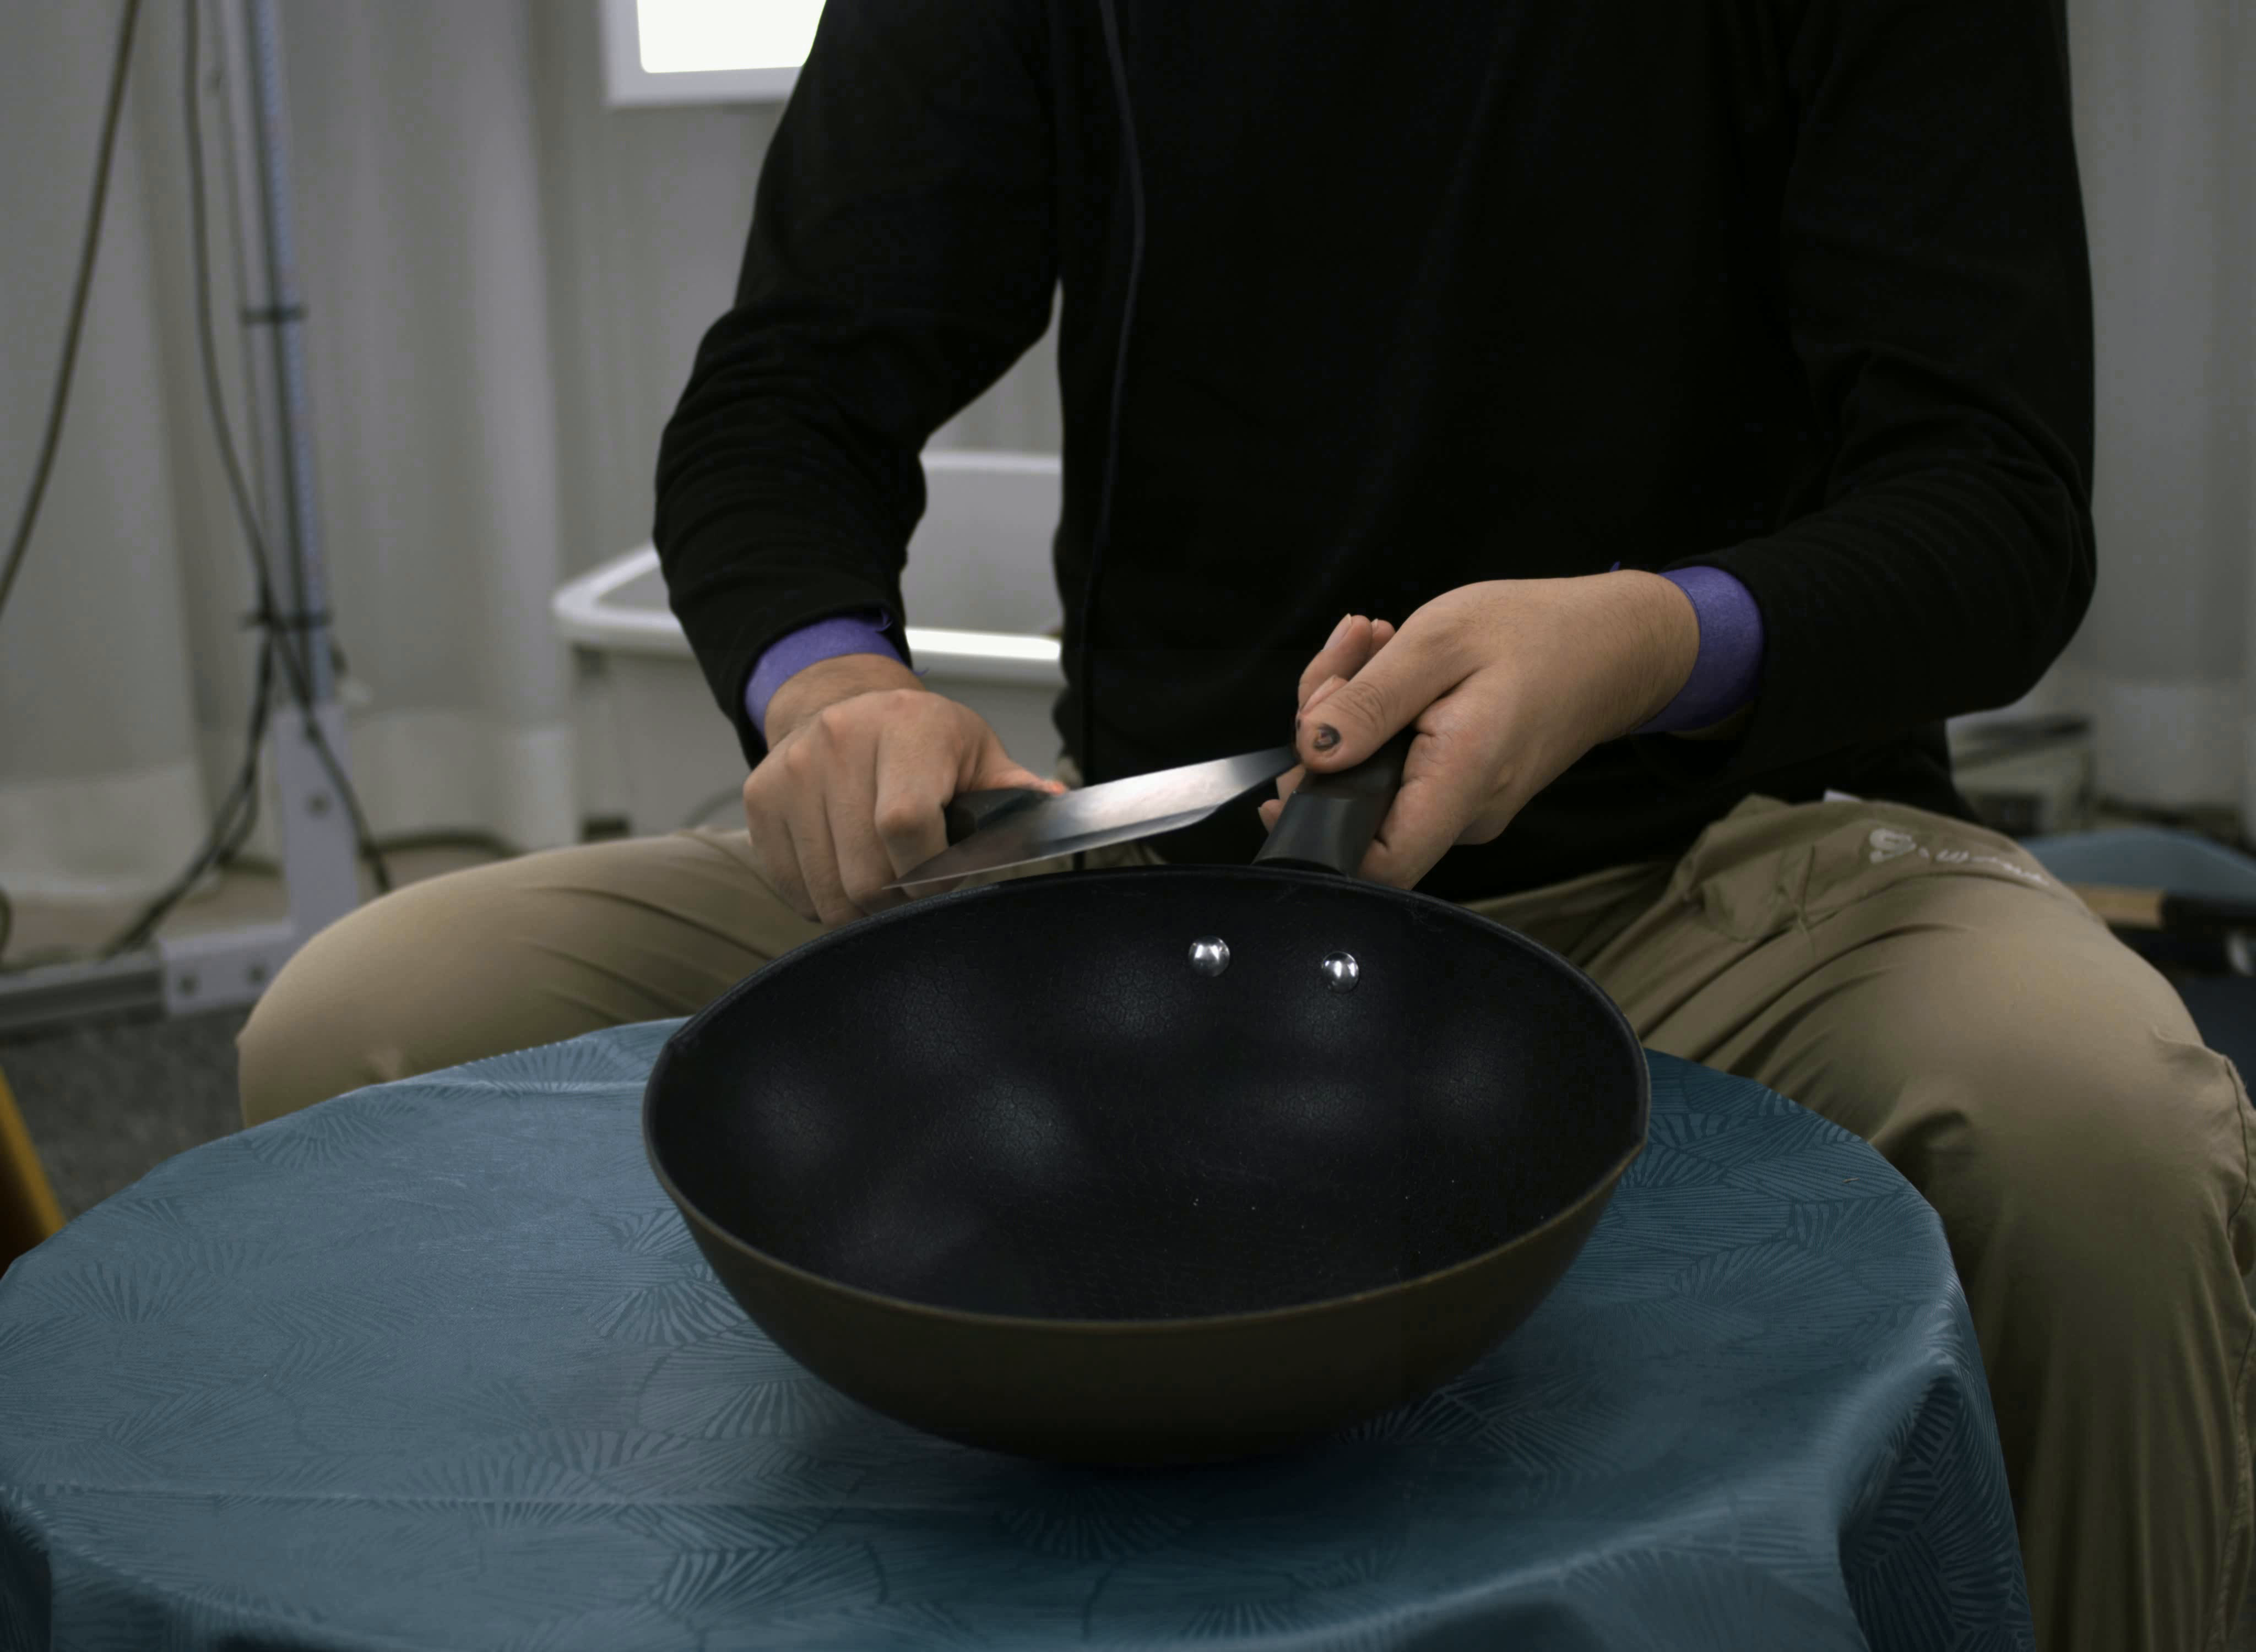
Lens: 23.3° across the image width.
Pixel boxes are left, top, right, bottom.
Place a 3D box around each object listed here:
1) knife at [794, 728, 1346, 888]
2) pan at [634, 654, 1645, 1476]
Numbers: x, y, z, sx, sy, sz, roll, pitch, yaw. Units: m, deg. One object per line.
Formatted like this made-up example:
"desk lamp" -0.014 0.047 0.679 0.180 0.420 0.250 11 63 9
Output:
"knife" -0.032 -0.001 1.709 0.081 0.021 0.302 -29 9 -26
"pan" 0.033 0.070 1.622 0.288 0.086 0.466 5 26 18
